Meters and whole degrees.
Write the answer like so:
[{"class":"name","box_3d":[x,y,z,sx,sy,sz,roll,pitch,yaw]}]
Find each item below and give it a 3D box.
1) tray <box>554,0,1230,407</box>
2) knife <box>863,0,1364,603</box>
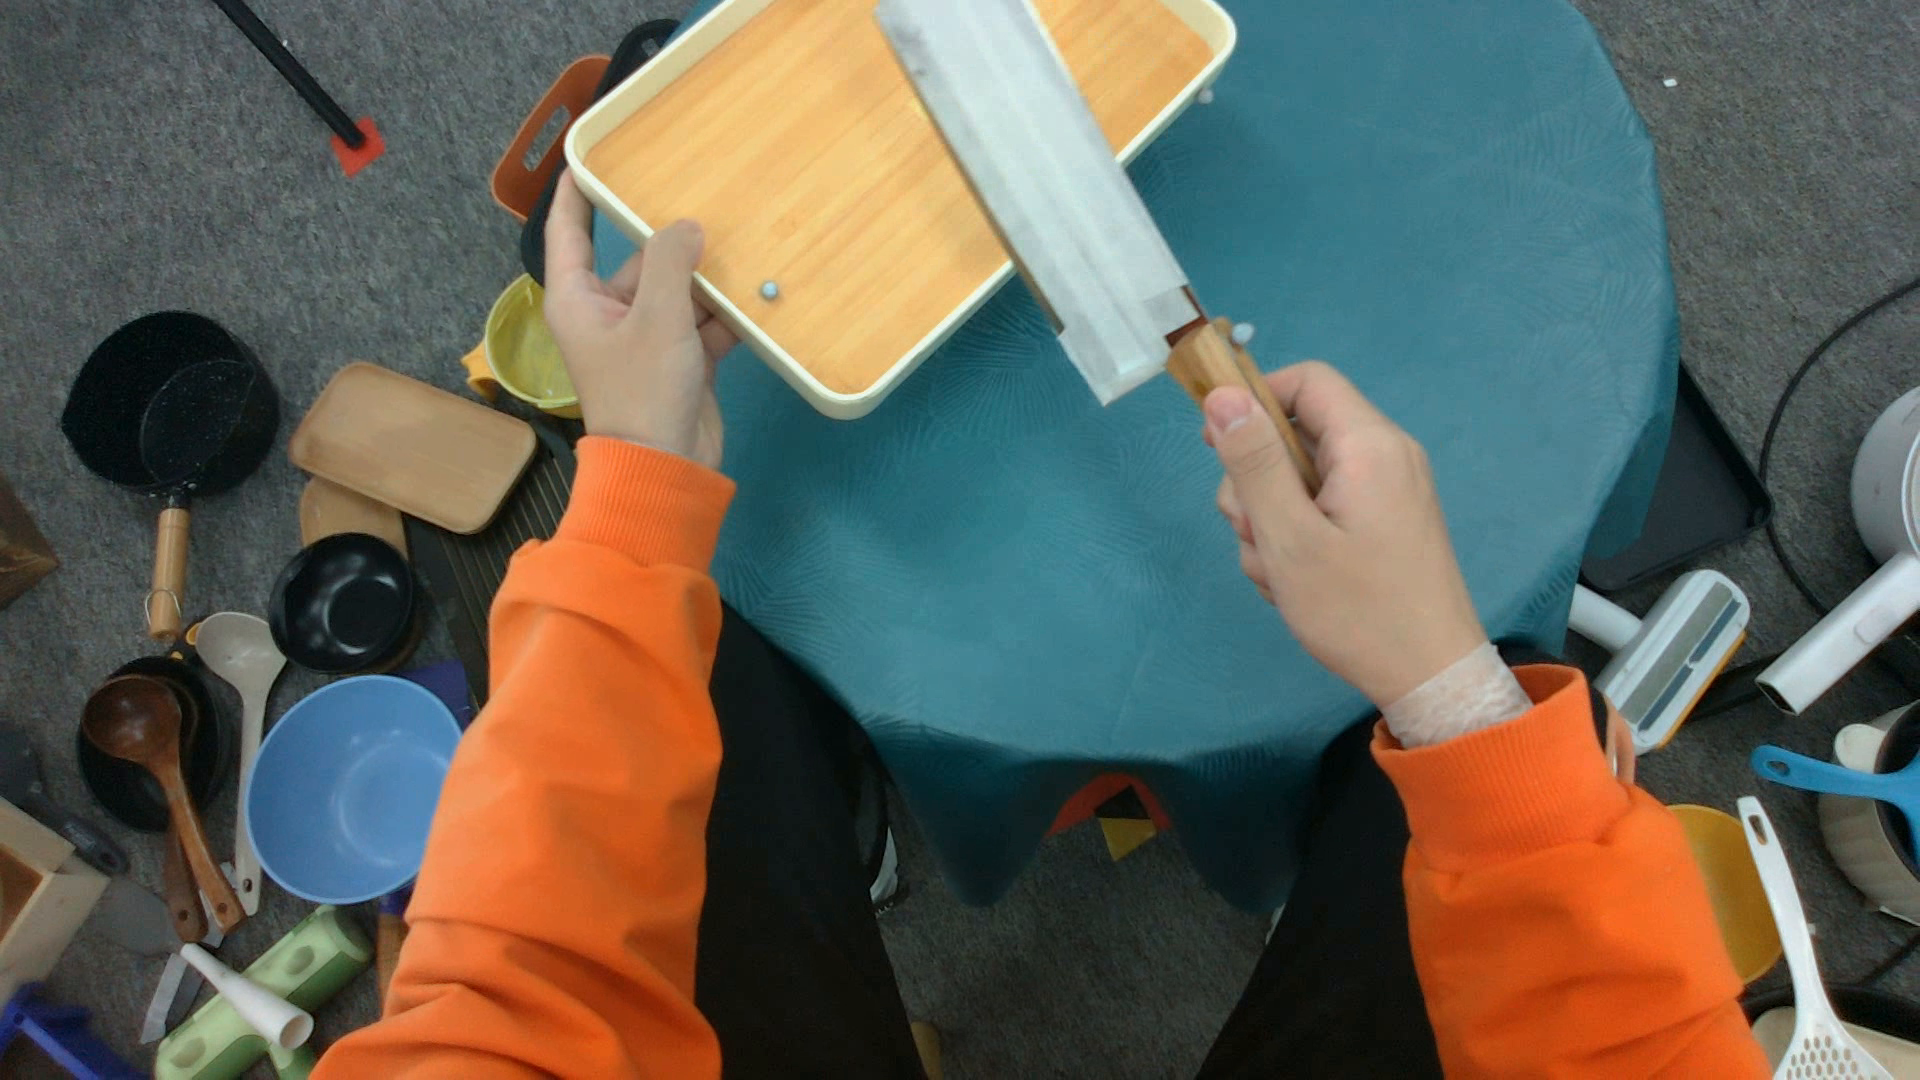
[{"class":"tray","box_3d":[-0.026,-0.222,0.675,0.191,0.027,0.301,43,73,6]},{"class":"knife","box_3d":[0.053,-0.100,0.545,0.021,0.092,0.305,-35,94,-25]}]
